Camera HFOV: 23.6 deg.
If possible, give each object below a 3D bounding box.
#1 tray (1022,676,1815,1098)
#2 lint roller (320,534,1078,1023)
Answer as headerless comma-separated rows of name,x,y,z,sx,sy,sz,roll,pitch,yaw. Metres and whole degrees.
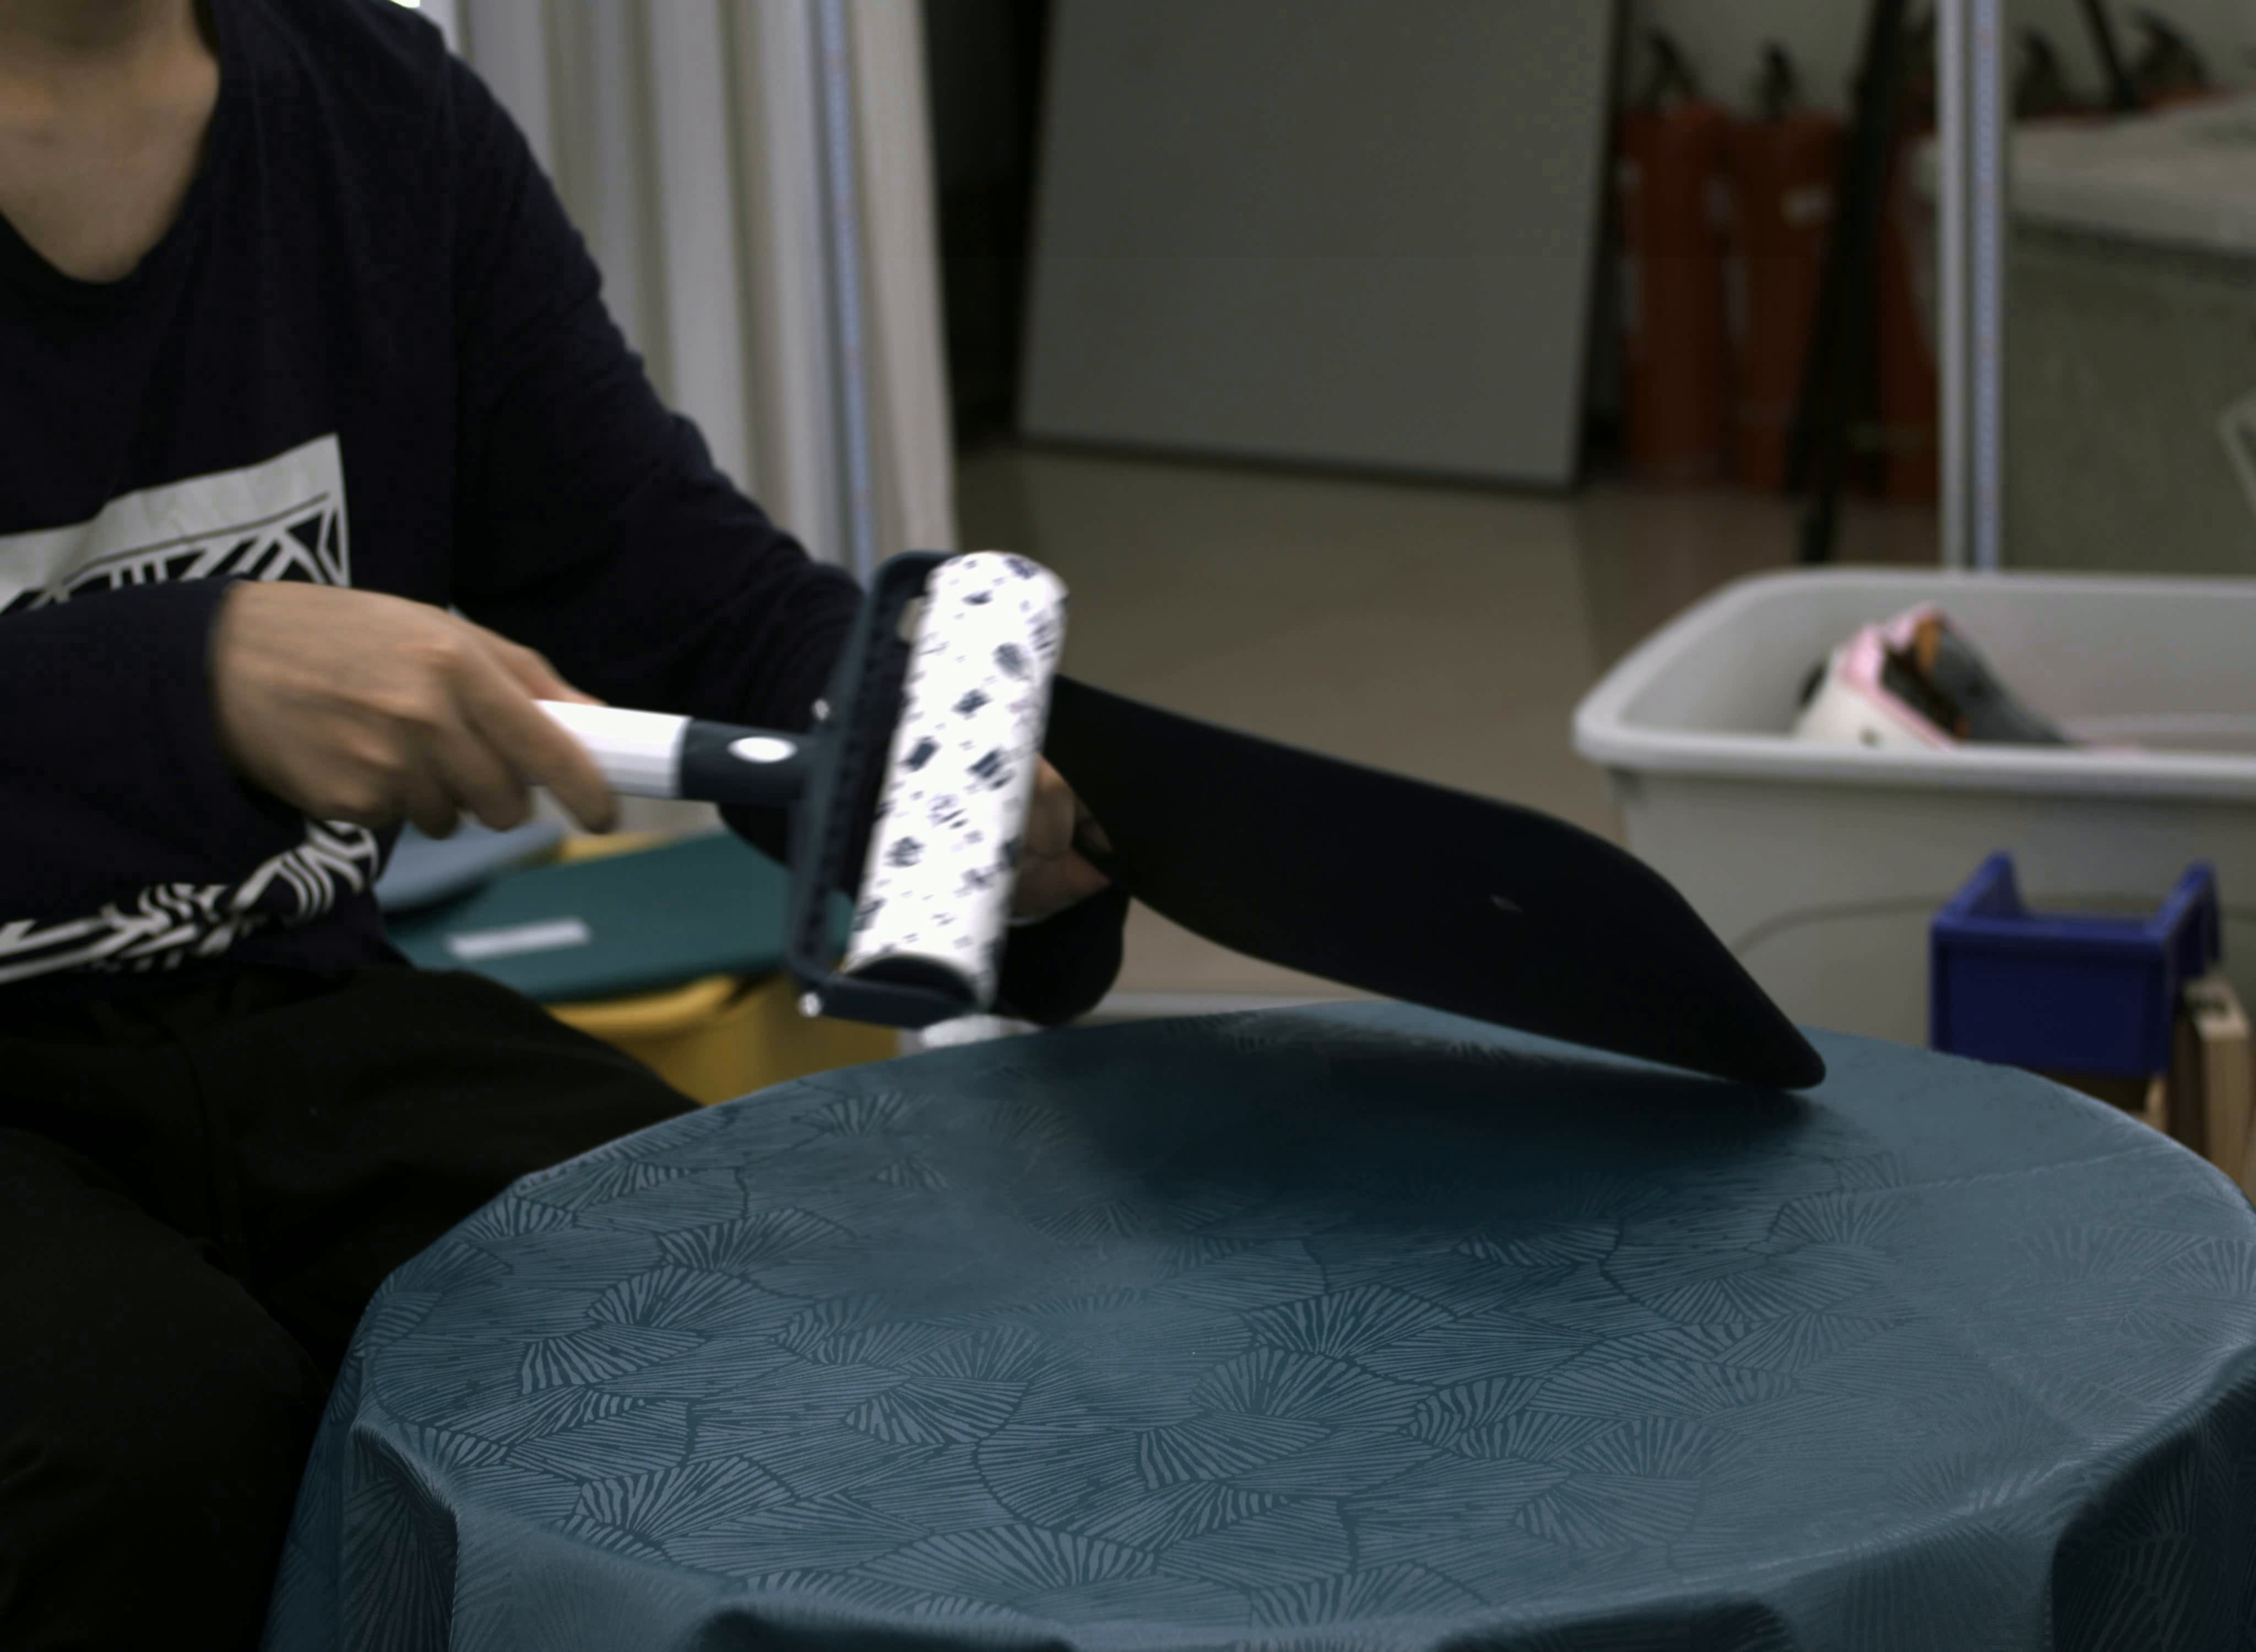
tray,0.075,0.014,1.837,0.328,0.010,0.208,16,-20,39
lint roller,-0.147,-0.024,1.773,0.245,0.050,0.177,4,57,8
